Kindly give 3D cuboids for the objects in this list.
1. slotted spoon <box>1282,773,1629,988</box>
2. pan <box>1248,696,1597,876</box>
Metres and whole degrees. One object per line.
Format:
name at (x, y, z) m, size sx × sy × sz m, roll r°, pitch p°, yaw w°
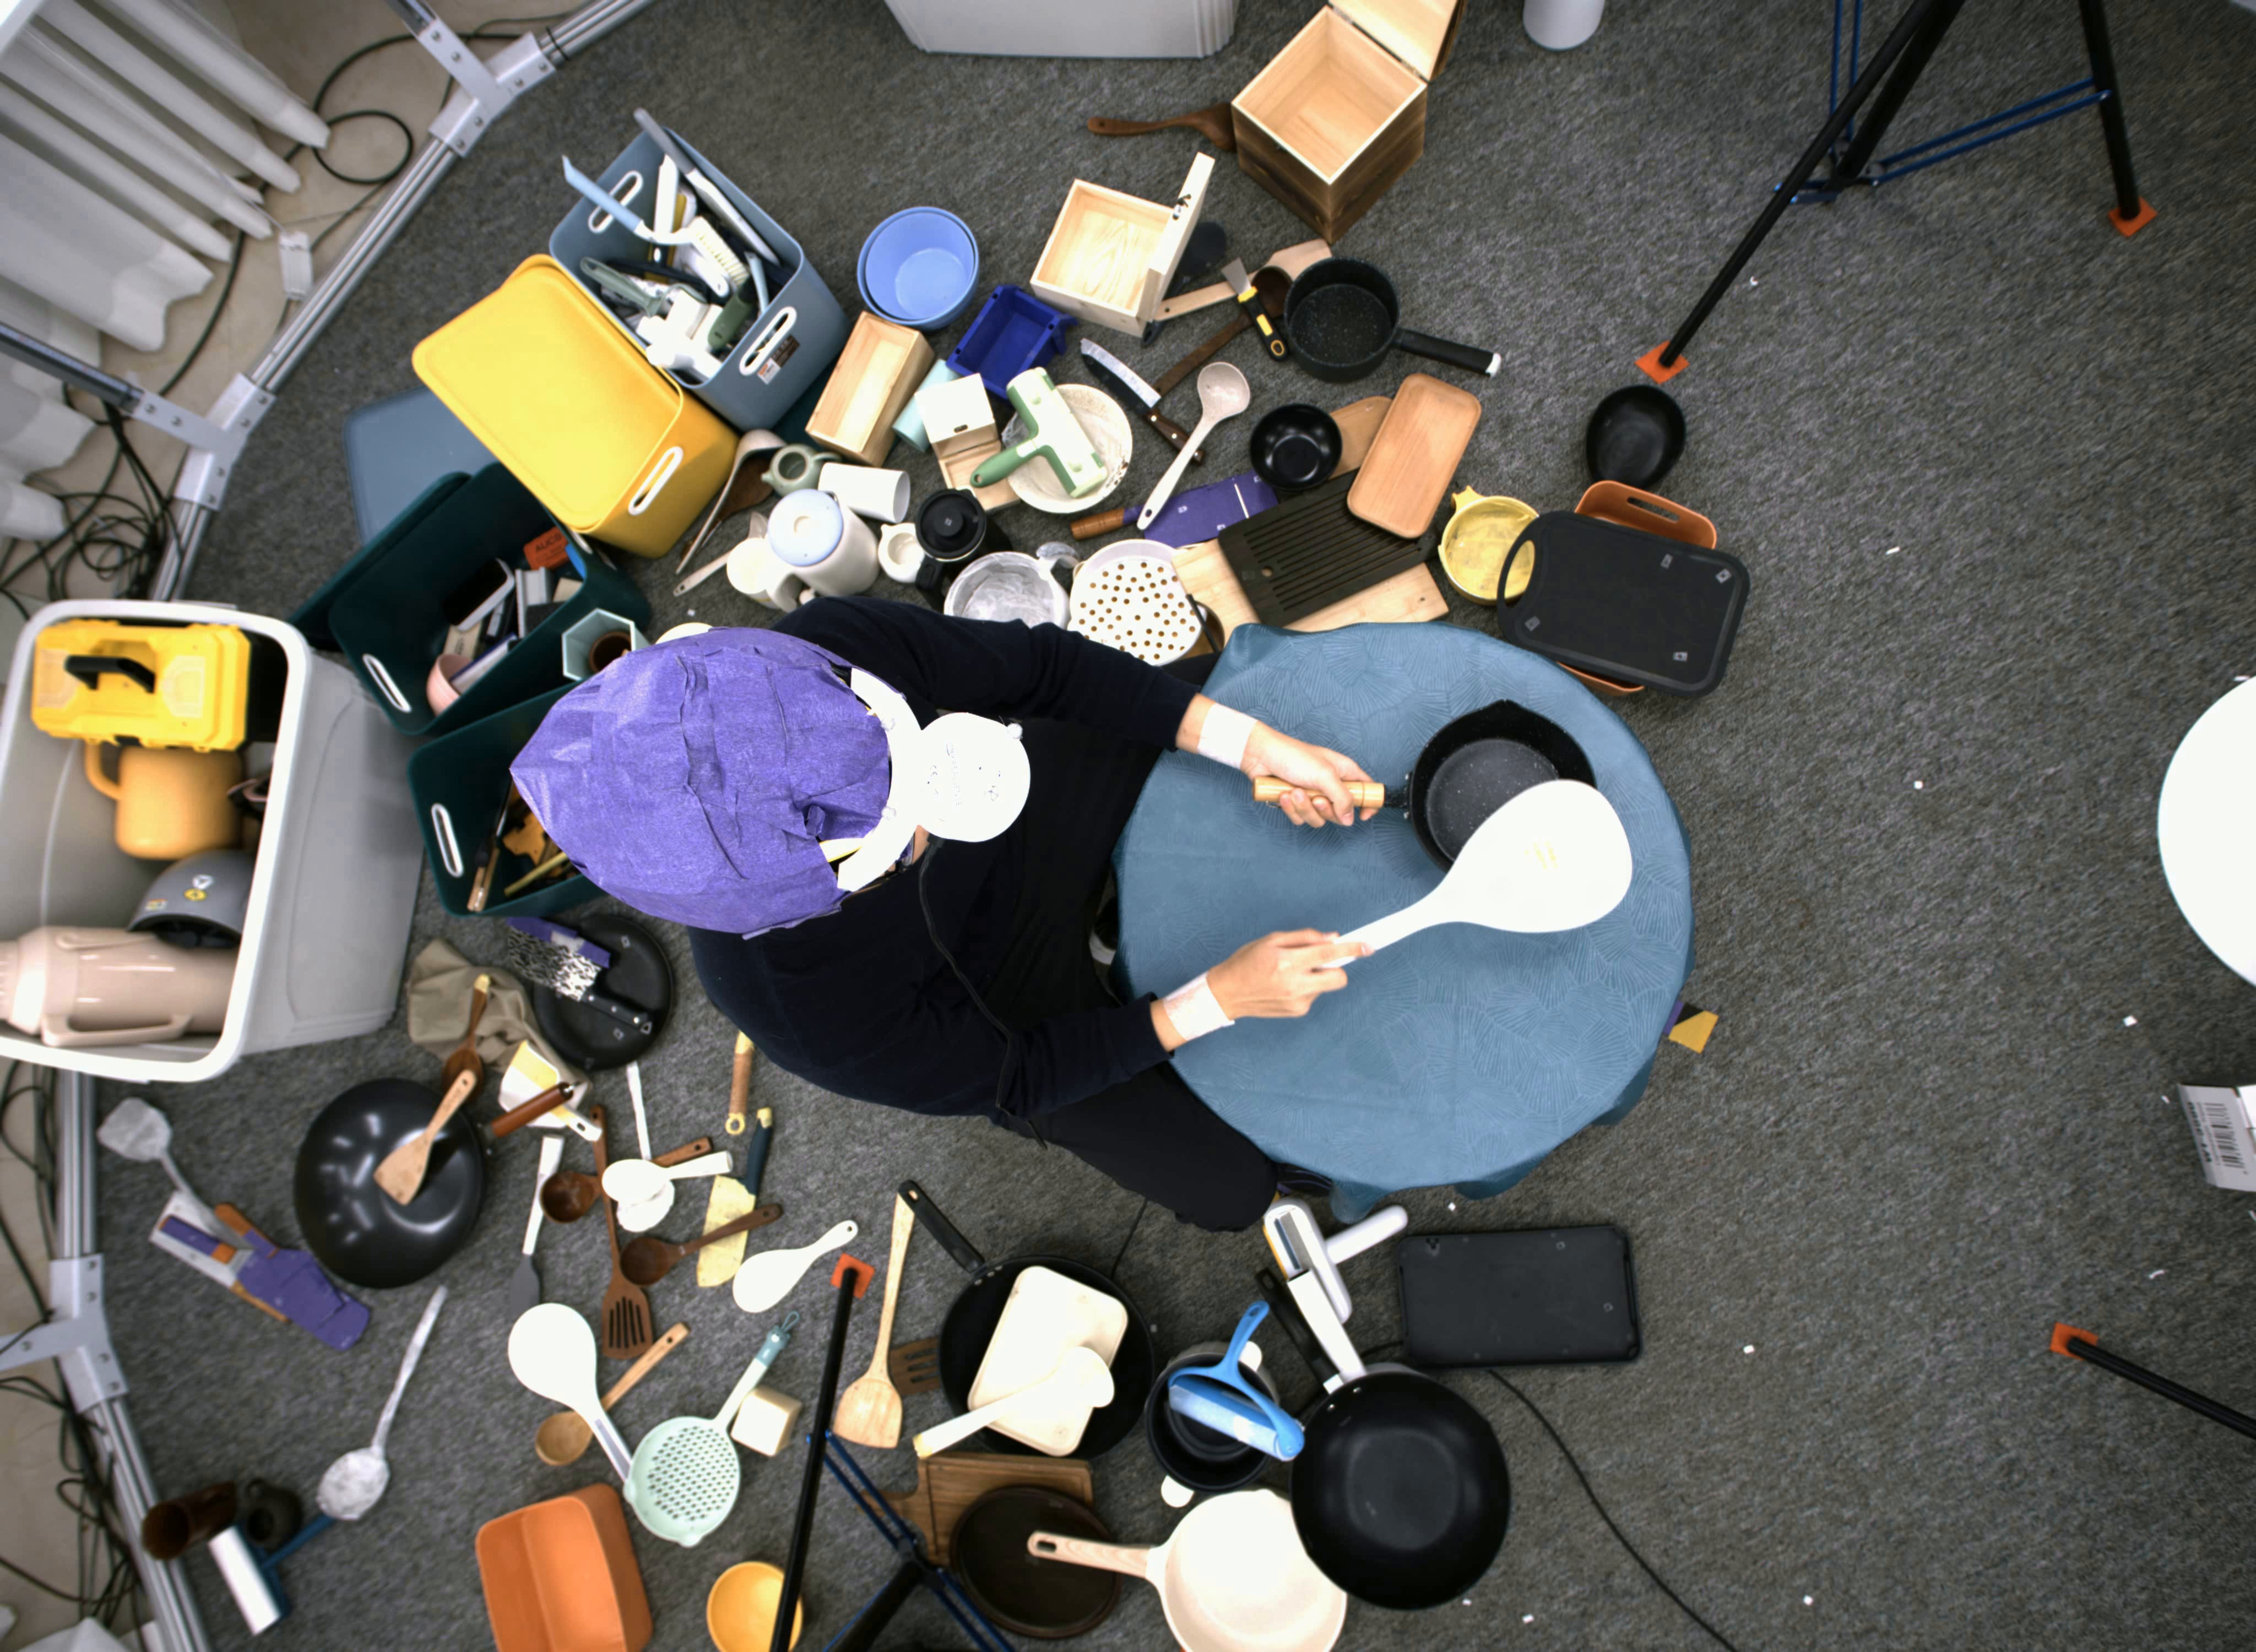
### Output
slotted spoon at (0.301, 0.066, 1.306) m, size 0.349 × 0.050 × 0.137 m, roll -27°, pitch 98°, yaw 5°
pan at (0.296, -0.028, 1.404) m, size 0.344 × 0.108 × 0.207 m, roll 1°, pitch 89°, yaw 10°
